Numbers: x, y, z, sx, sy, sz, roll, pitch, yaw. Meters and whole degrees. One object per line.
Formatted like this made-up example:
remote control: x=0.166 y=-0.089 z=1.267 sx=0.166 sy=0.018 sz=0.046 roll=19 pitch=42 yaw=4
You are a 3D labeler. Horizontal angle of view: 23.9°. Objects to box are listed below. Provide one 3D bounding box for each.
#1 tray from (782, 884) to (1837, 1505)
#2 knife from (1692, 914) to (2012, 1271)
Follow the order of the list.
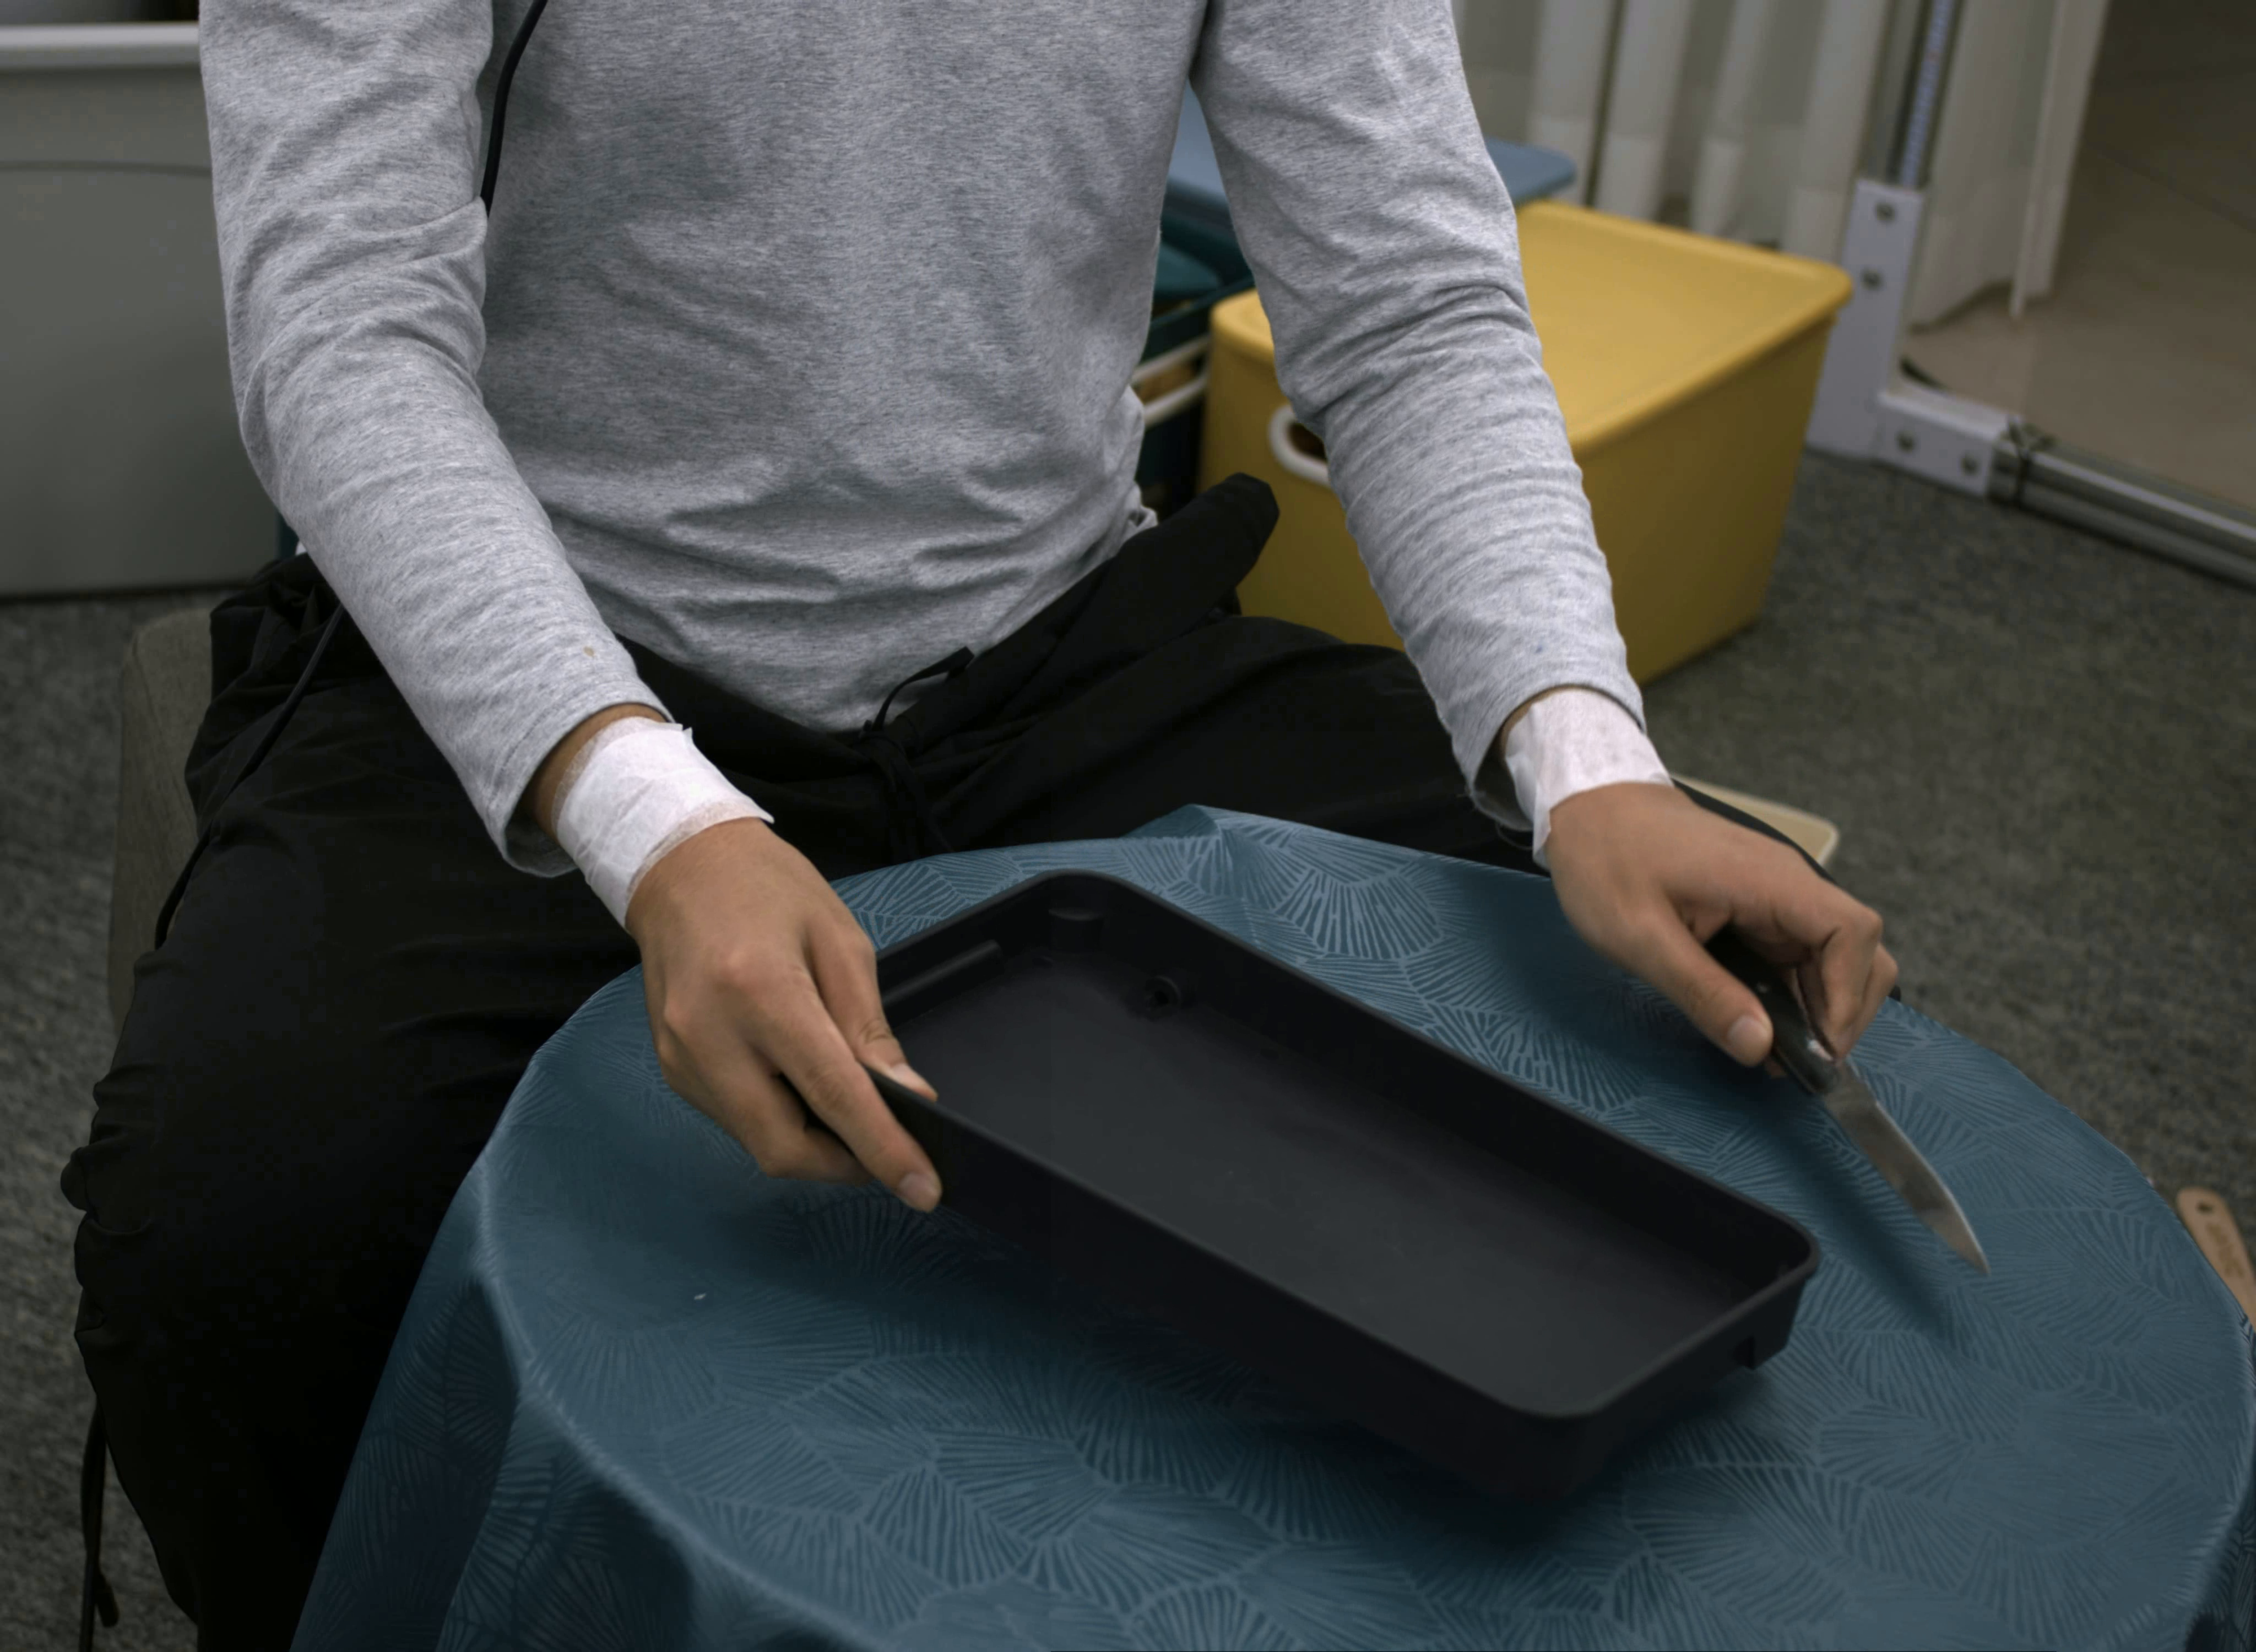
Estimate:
tray: x=0.056 y=0.114 z=1.735 sx=0.320 sy=0.037 sz=0.183 roll=24 pitch=28 yaw=27
knife: x=0.250 y=0.092 z=1.858 sx=0.024 sy=0.016 sz=0.240 roll=-1 pitch=28 yaw=-21
